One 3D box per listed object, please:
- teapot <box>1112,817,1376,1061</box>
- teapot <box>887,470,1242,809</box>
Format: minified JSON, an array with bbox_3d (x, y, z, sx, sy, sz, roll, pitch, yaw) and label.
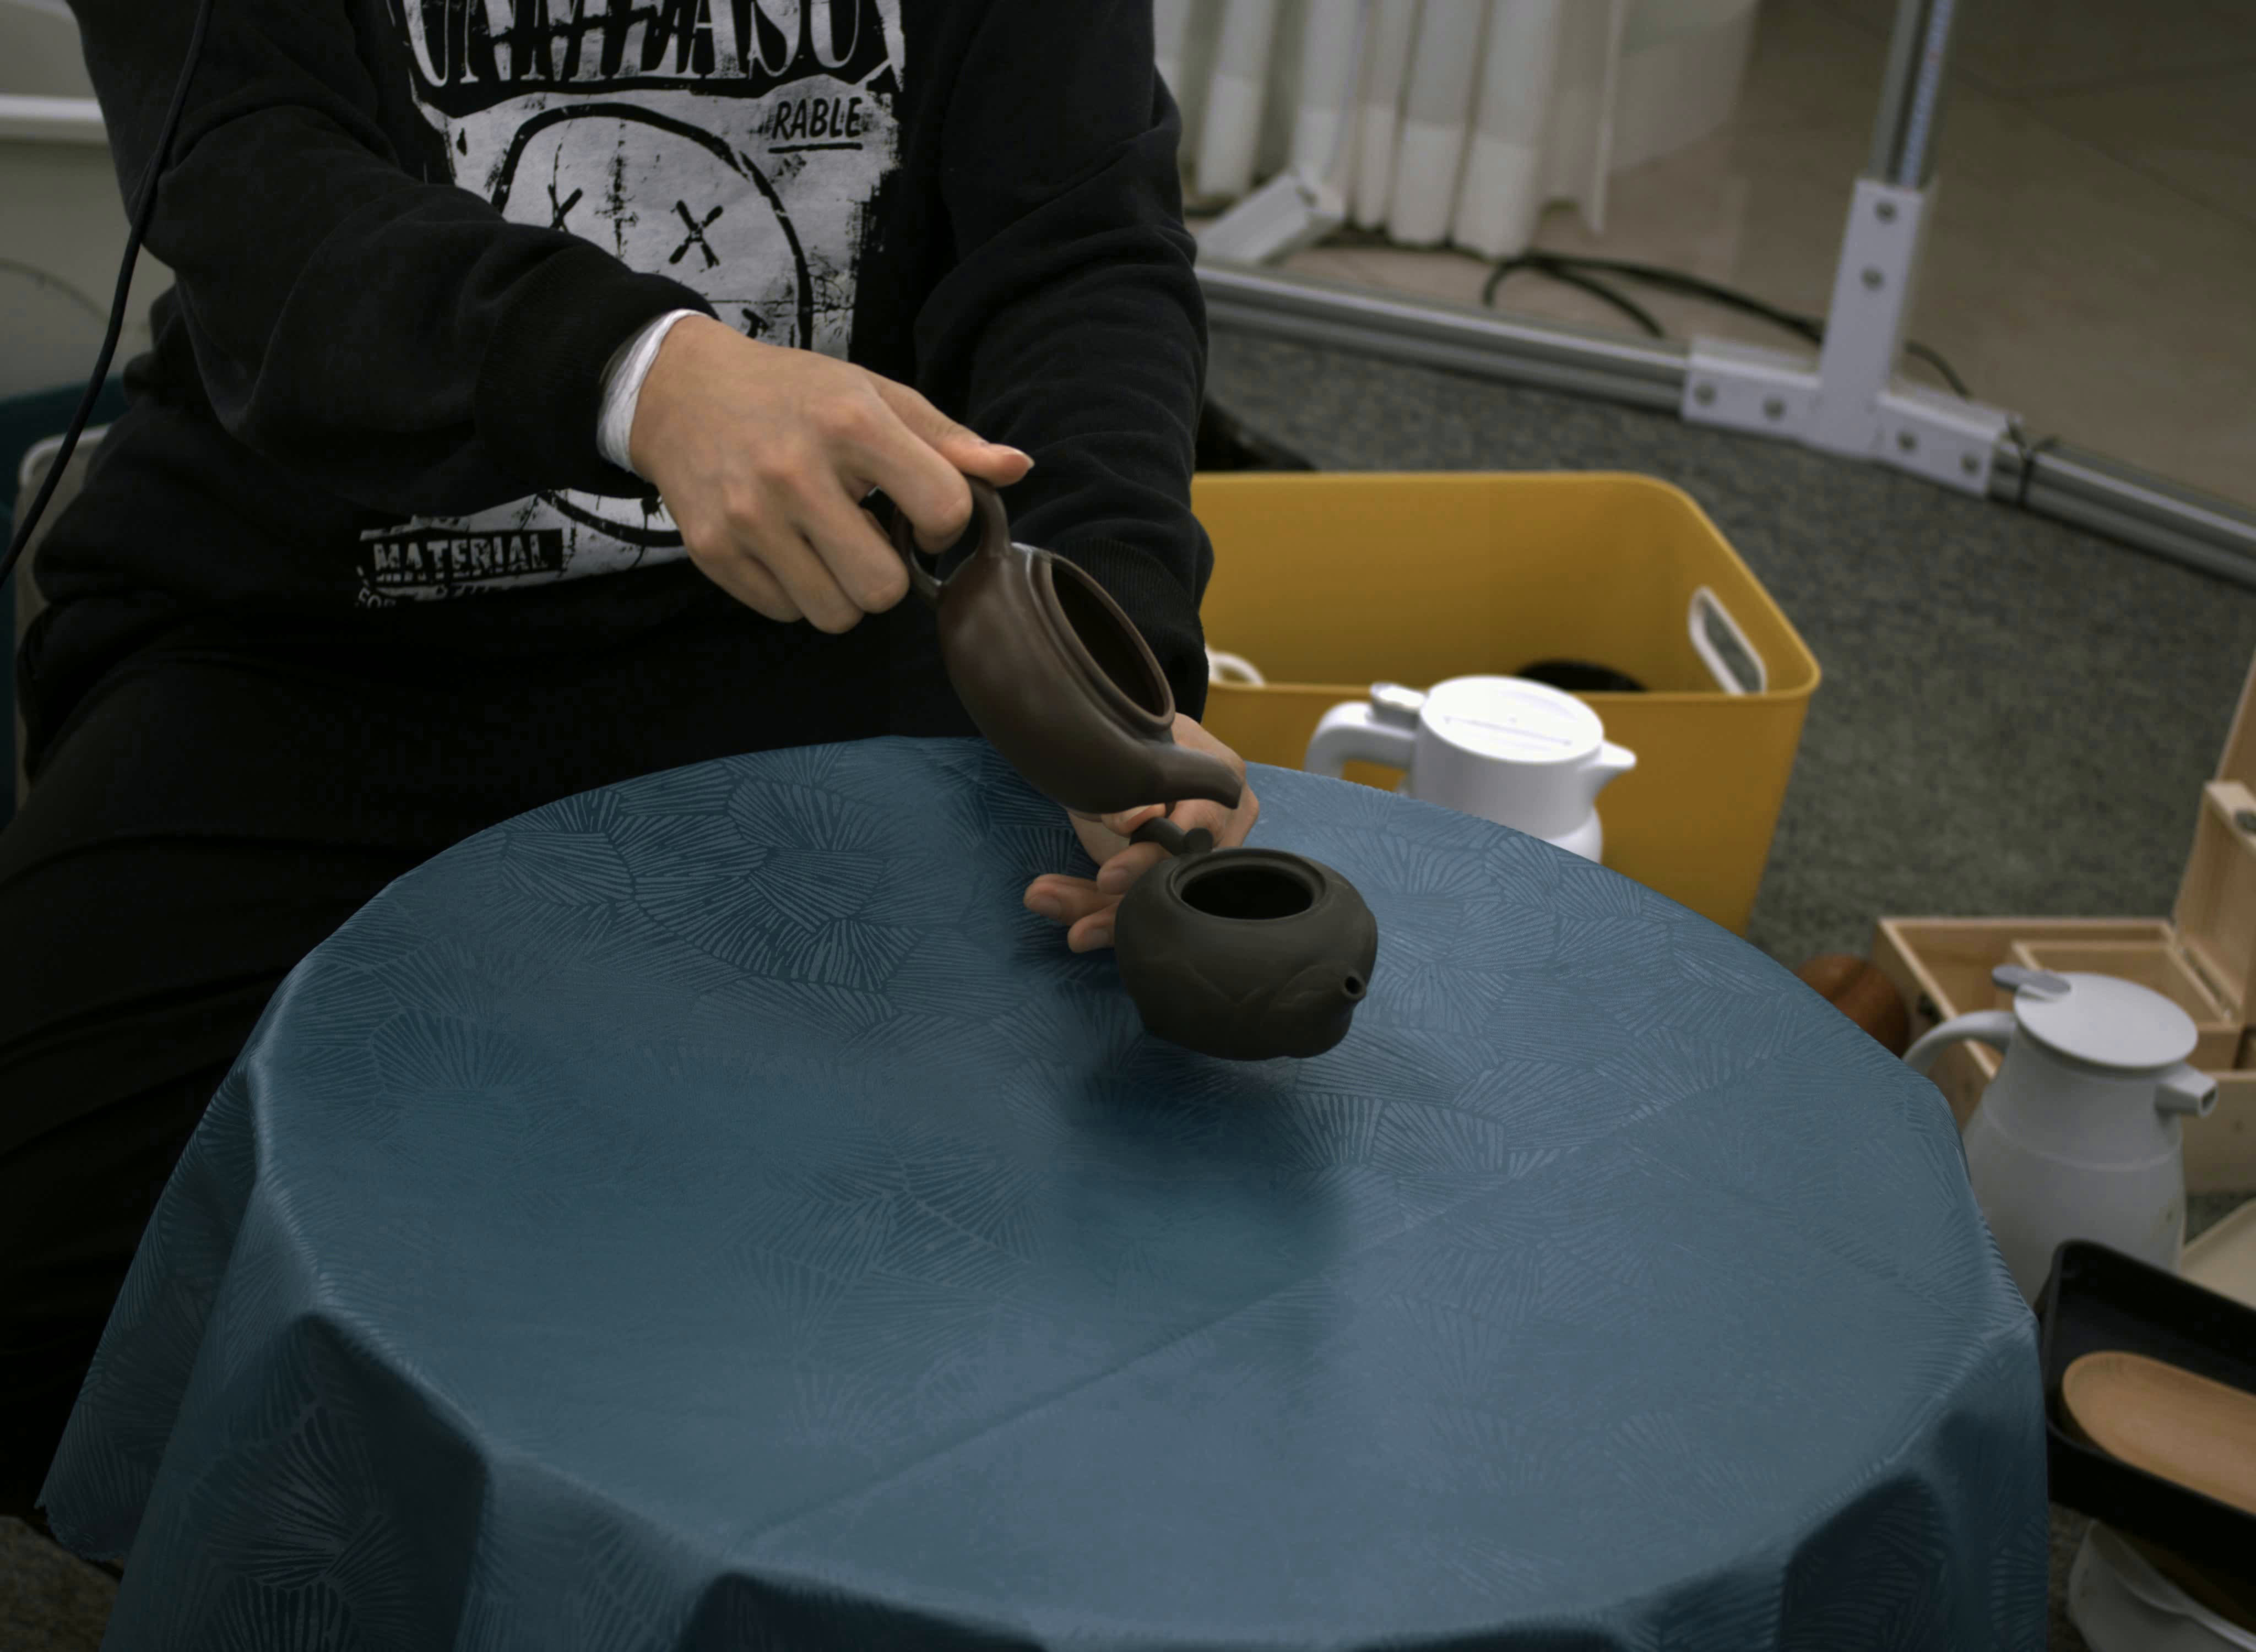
[{"bbox_3d":[0.039,0.043,1.874,0.092,0.064,0.155,-9,29,-27],"label":"teapot"},{"bbox_3d":[-0.026,-0.056,1.806,0.153,0.054,0.103,50,15,-14],"label":"teapot"}]
